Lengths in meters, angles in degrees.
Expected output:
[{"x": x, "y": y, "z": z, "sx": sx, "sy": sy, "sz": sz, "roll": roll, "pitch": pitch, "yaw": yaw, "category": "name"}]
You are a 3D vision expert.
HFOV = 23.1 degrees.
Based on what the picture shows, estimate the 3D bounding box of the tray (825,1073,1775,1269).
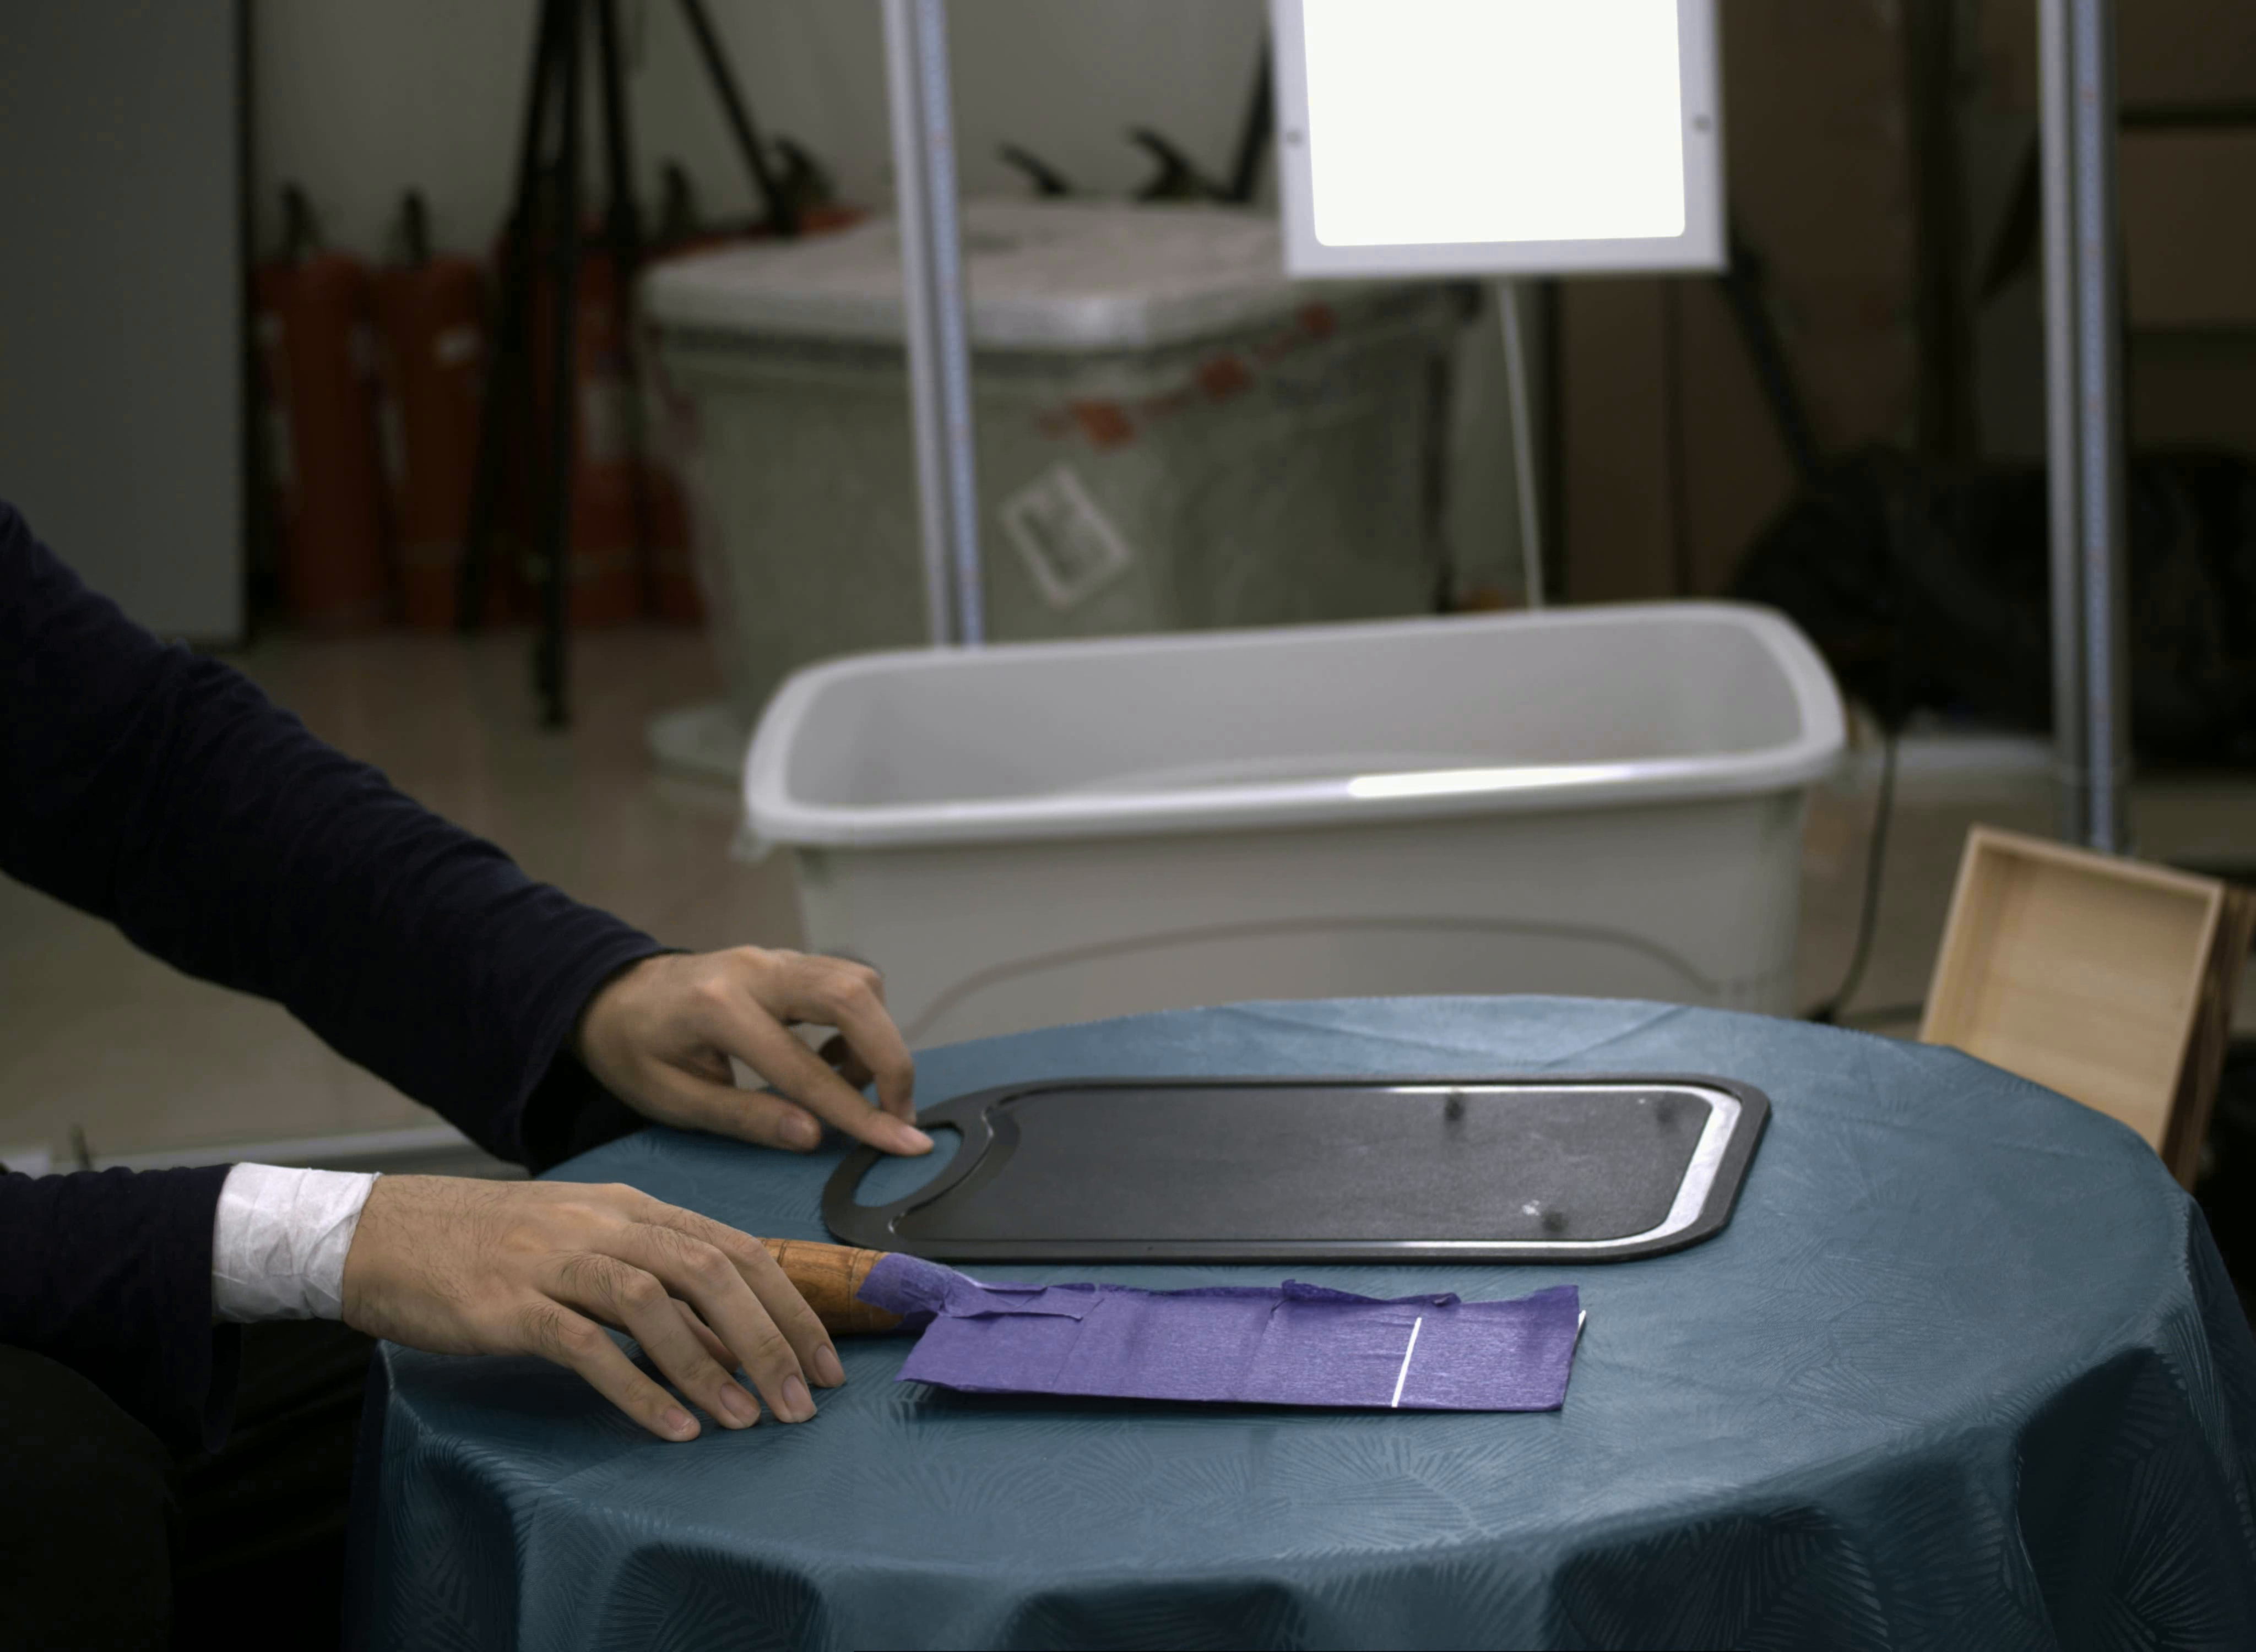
[{"x": 0.056, "y": 0.116, "z": 1.911, "sx": 0.329, "sy": 0.010, "sz": 0.208, "roll": -1, "pitch": 14, "yaw": 16, "category": "tray"}]

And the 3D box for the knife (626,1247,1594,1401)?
[{"x": -0.013, "y": 0.156, "z": 1.729, "sx": 0.318, "sy": 0.032, "sz": 0.102, "roll": -1, "pitch": 14, "yaw": 14, "category": "knife"}]
